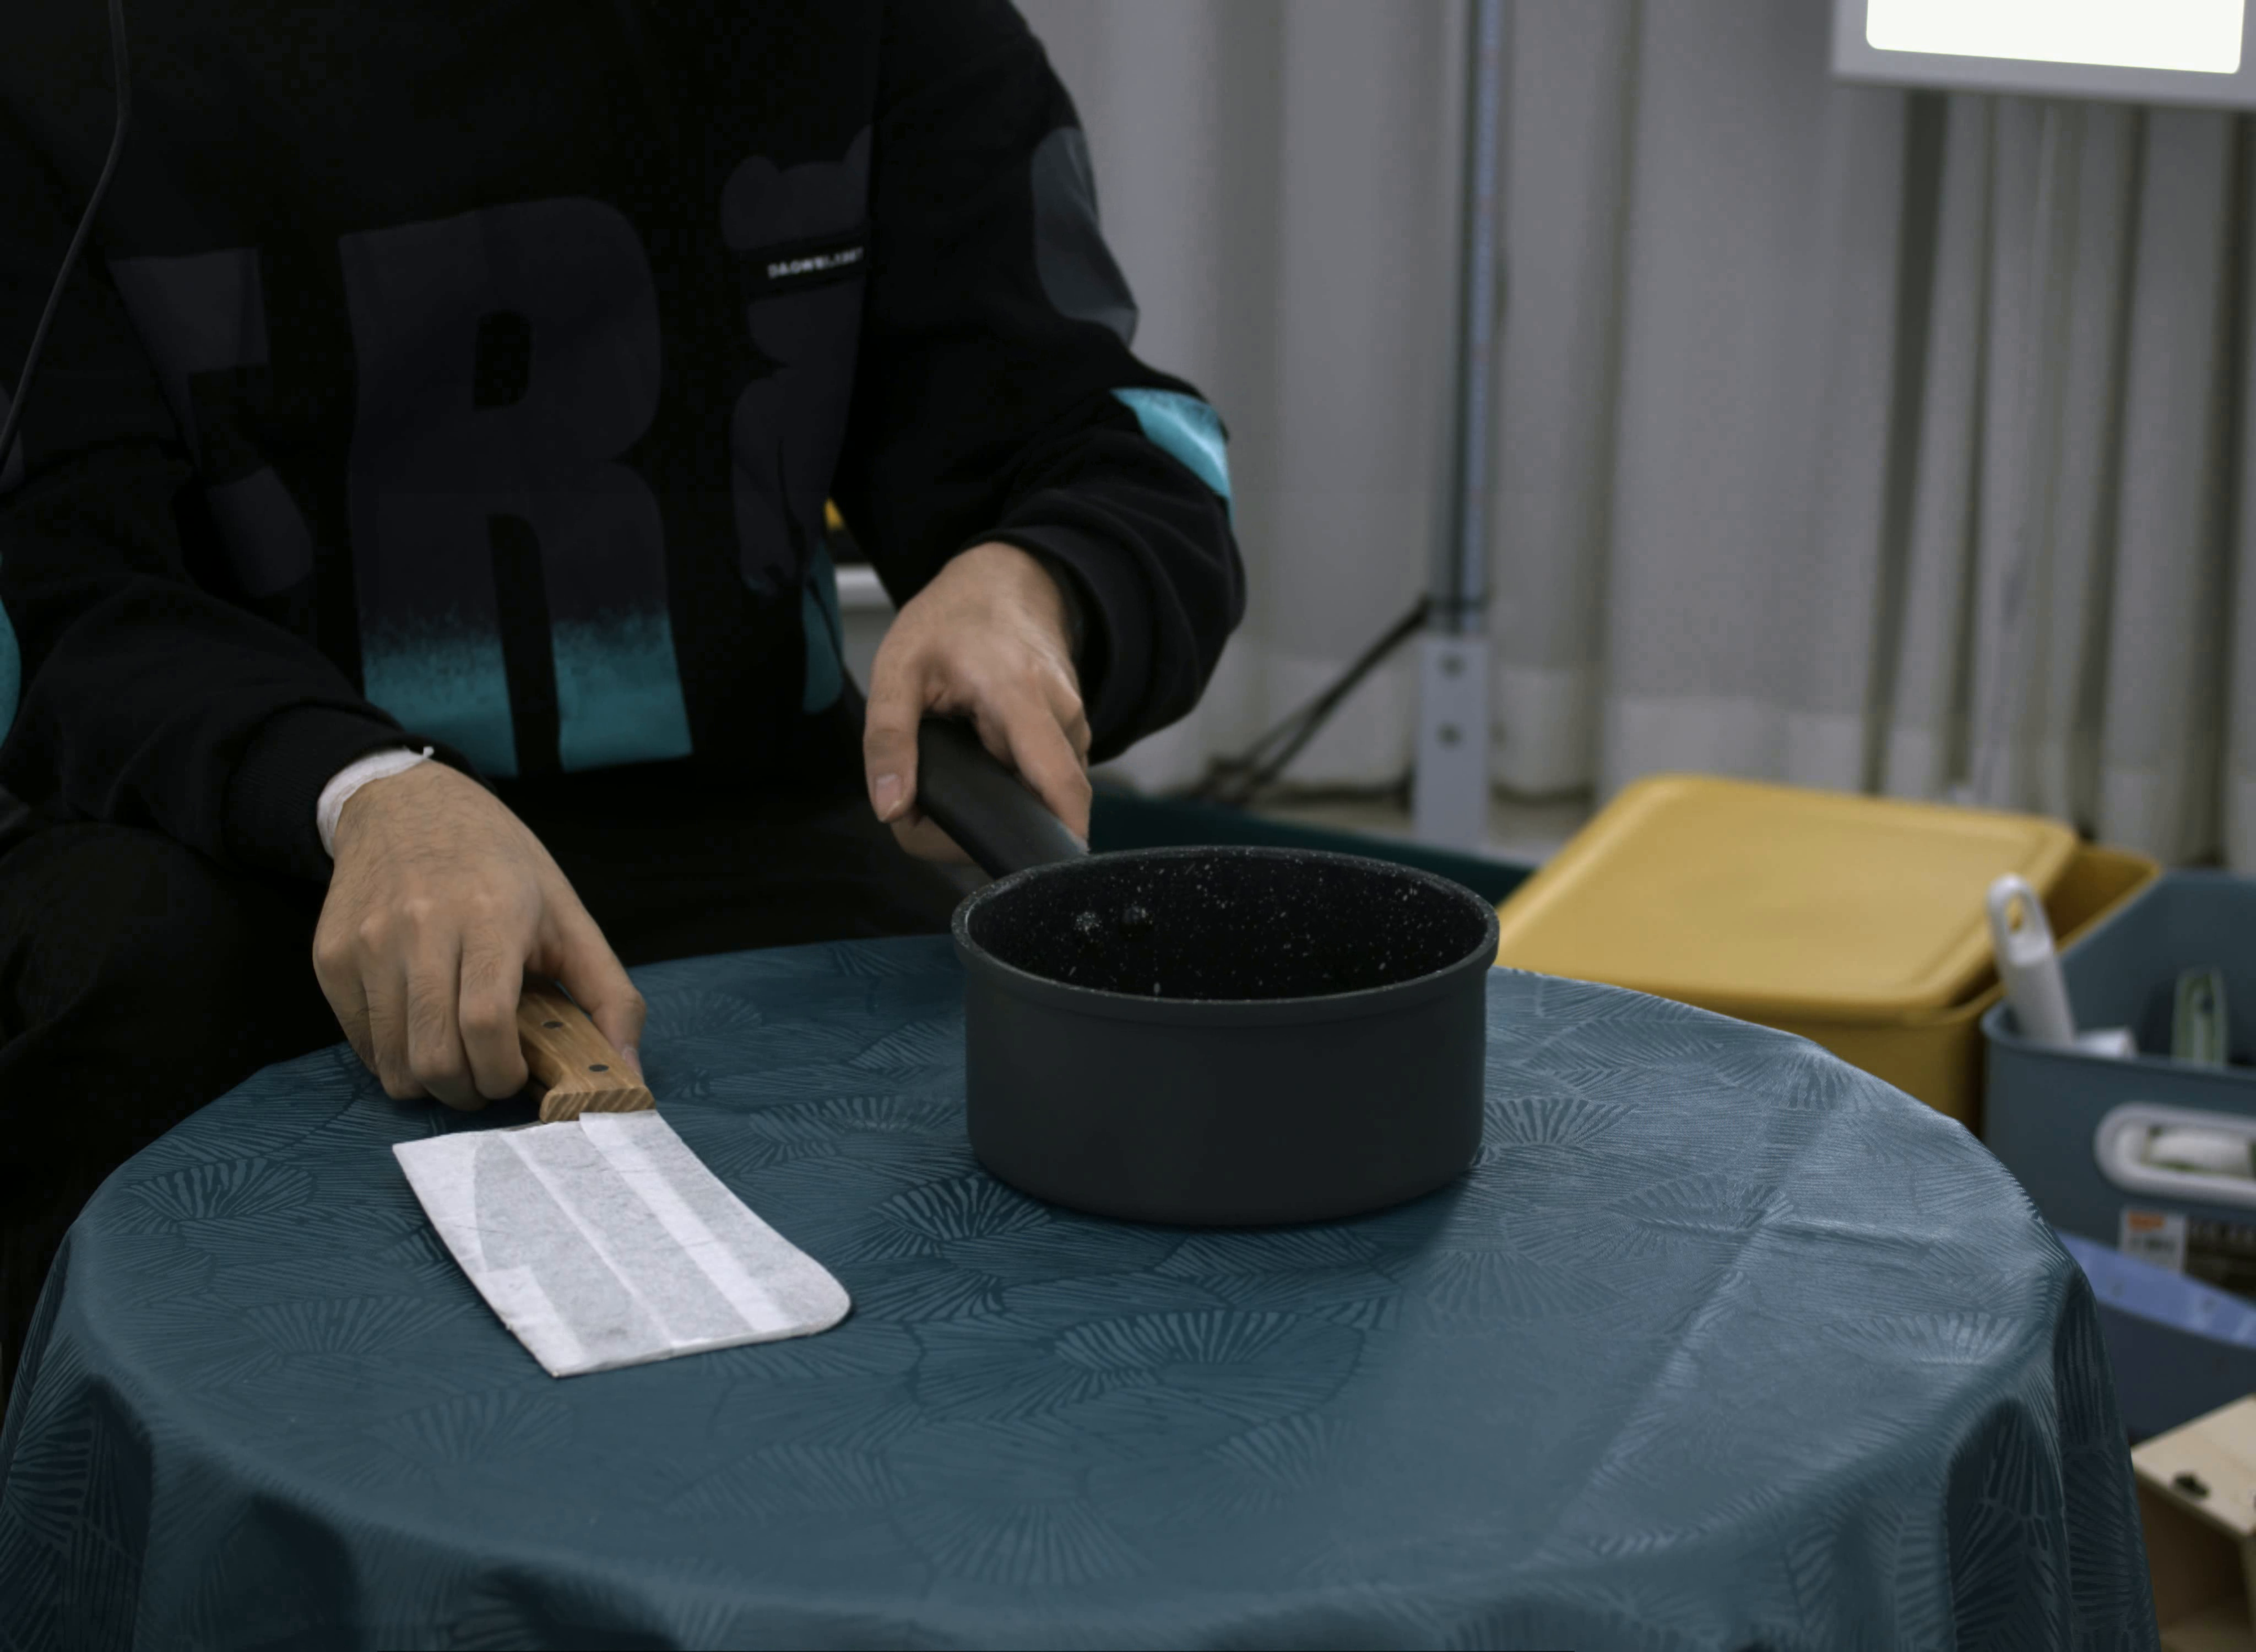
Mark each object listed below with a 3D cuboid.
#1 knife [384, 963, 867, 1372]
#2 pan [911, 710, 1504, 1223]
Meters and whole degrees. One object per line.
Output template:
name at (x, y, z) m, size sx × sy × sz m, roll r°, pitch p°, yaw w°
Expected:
knife at (-0.169, 0.102, 1.620) m, size 0.114 × 0.022 × 0.312 m, roll -5°, pitch 19°, yaw -18°
pan at (-0.001, 0.042, 1.717) m, size 0.172 × 0.087 × 0.325 m, roll -4°, pitch 17°, yaw -23°
